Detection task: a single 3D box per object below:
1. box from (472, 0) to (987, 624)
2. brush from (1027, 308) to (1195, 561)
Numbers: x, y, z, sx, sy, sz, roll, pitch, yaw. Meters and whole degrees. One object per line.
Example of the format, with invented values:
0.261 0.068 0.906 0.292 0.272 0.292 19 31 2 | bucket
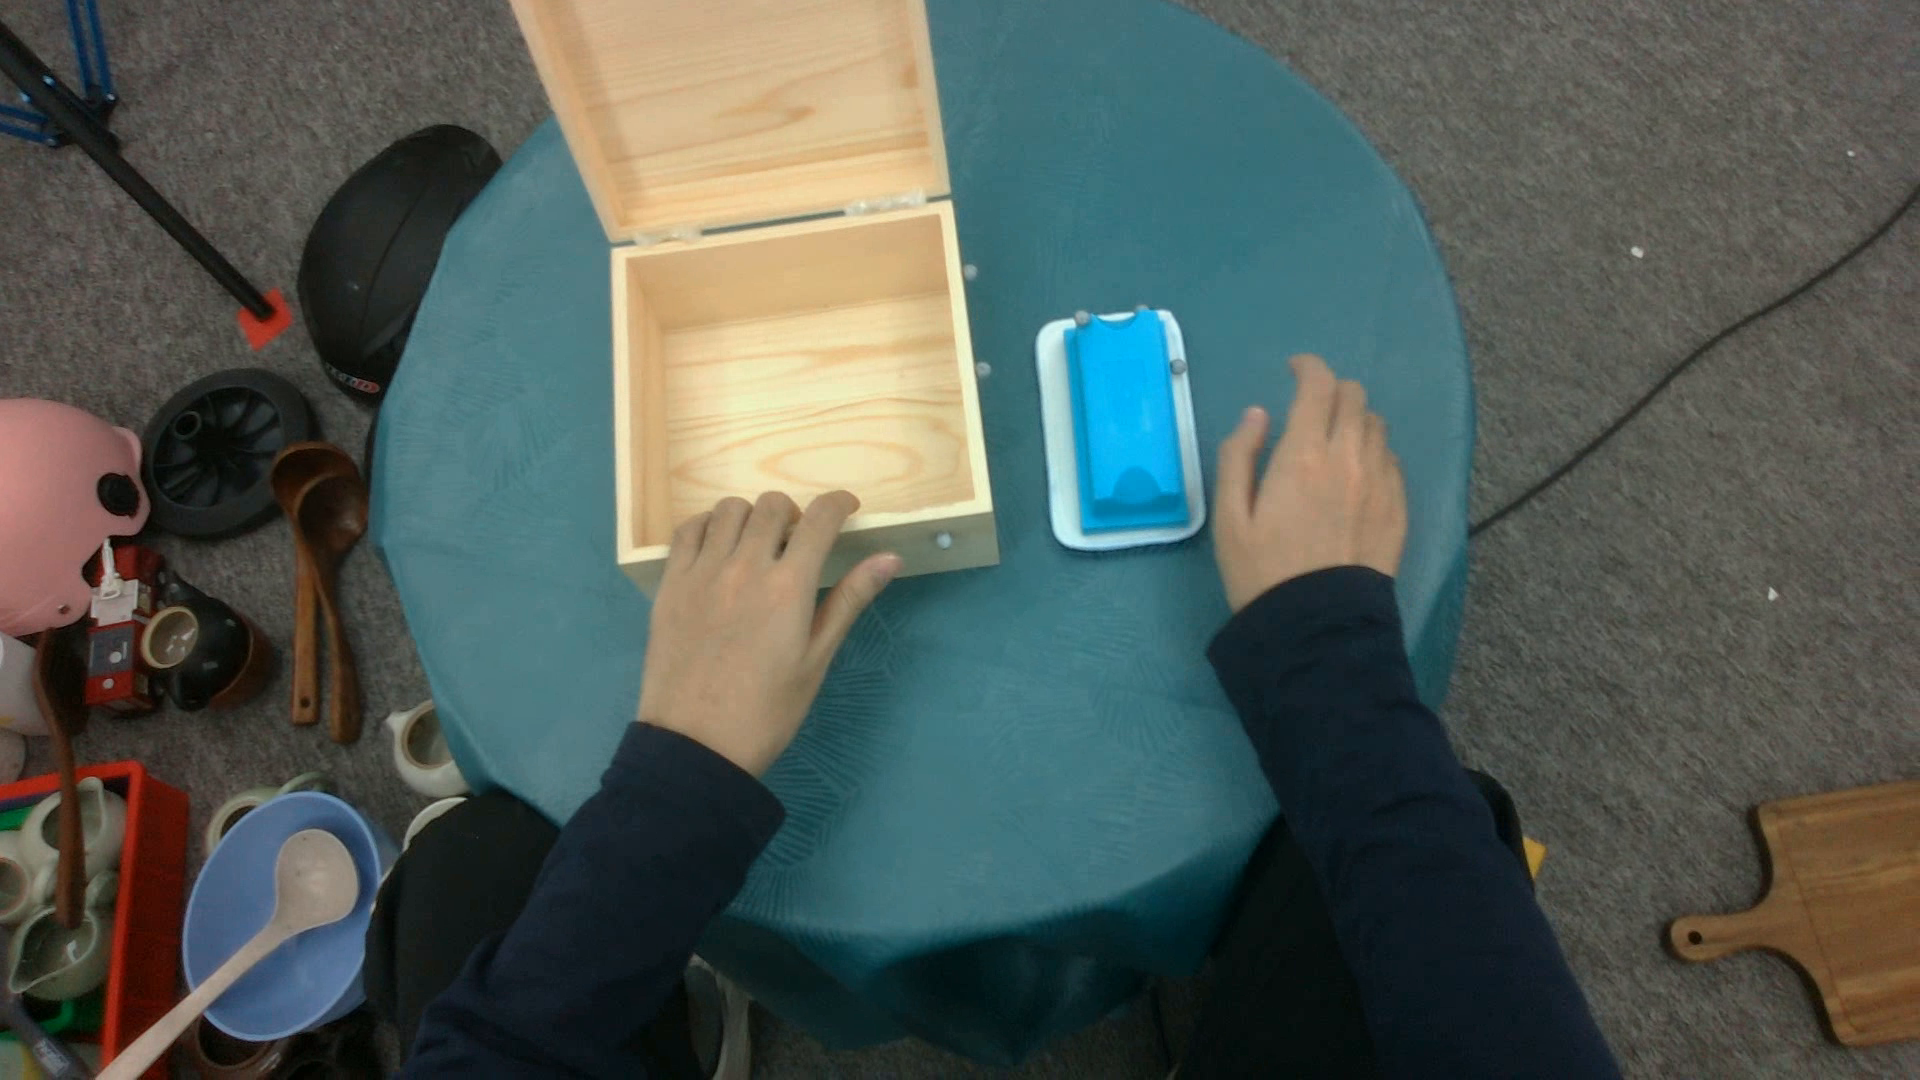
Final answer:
-0.103 -0.129 0.661 0.182 0.252 0.266 -11 68 0 | box
0.075 -0.062 0.724 0.084 0.056 0.144 -6 65 6 | brush
